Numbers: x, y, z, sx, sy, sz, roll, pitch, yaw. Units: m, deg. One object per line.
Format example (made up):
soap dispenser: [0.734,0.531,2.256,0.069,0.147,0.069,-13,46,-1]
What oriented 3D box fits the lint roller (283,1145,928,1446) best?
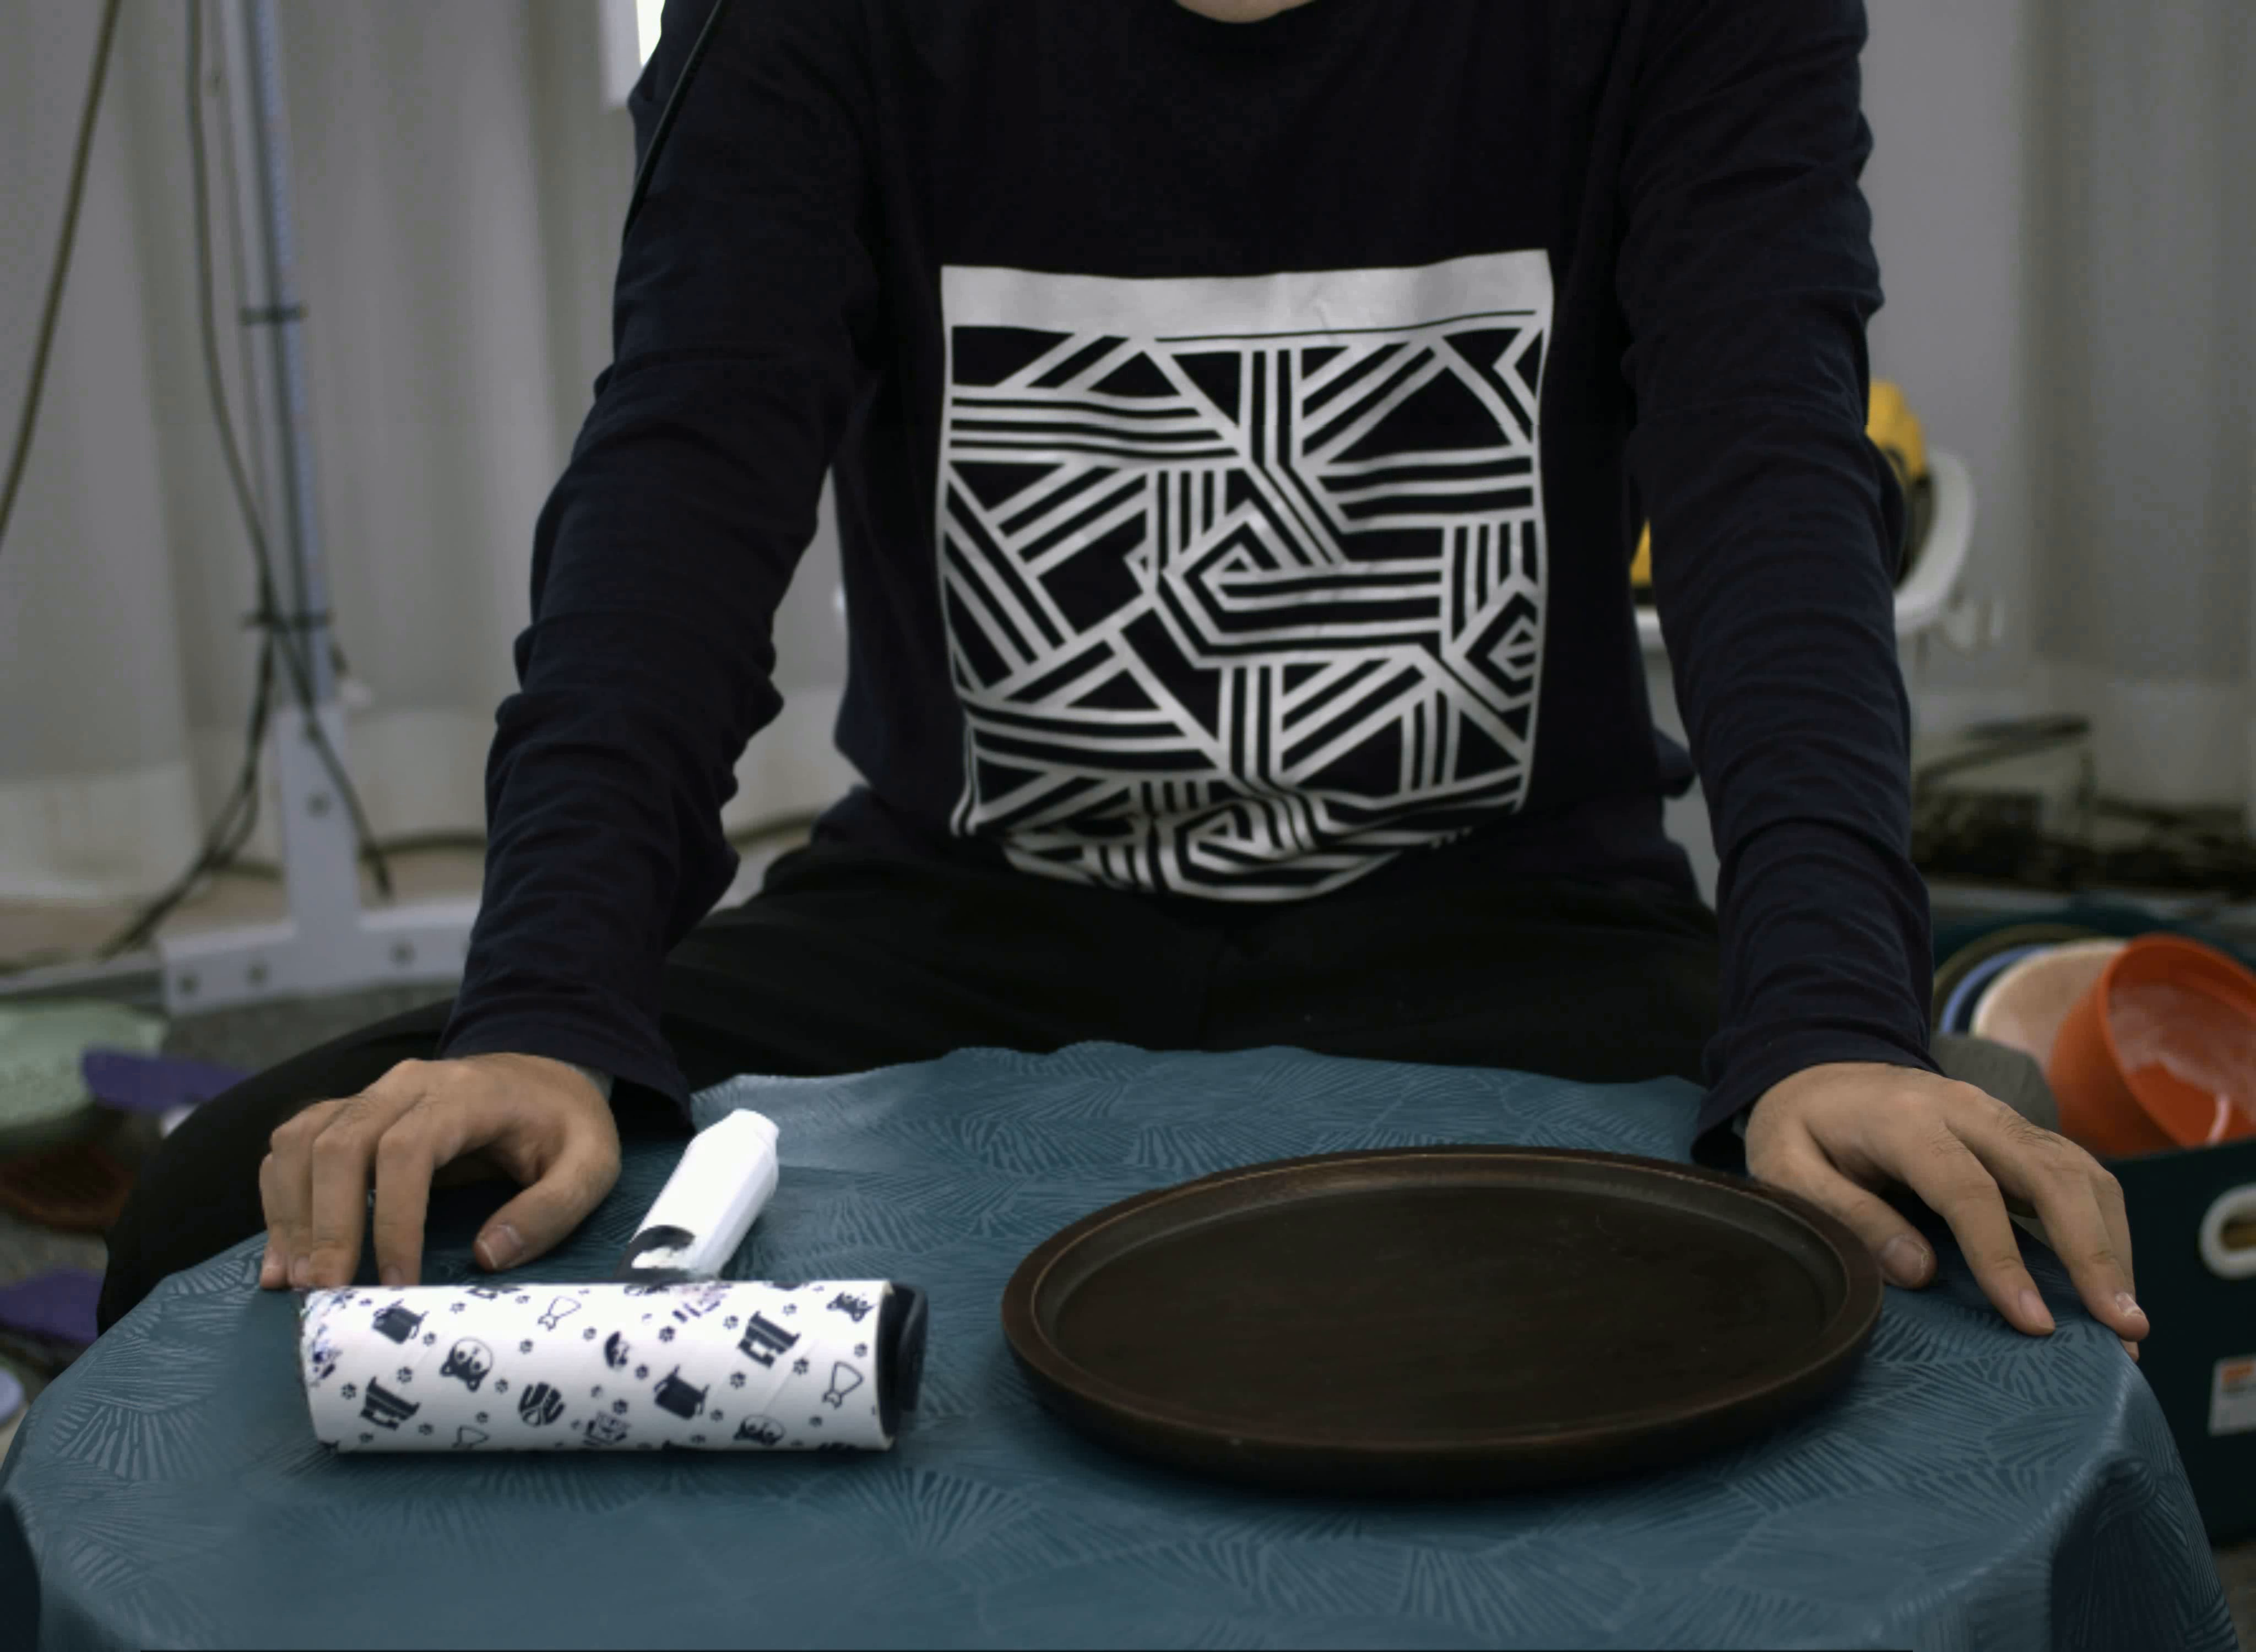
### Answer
lint roller: [-0.136,0.128,1.618,0.176,0.050,0.248,-2,12,6]

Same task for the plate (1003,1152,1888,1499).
plate: [0.090,0.140,1.561,0.254,0.029,0.256,-2,13,0]
